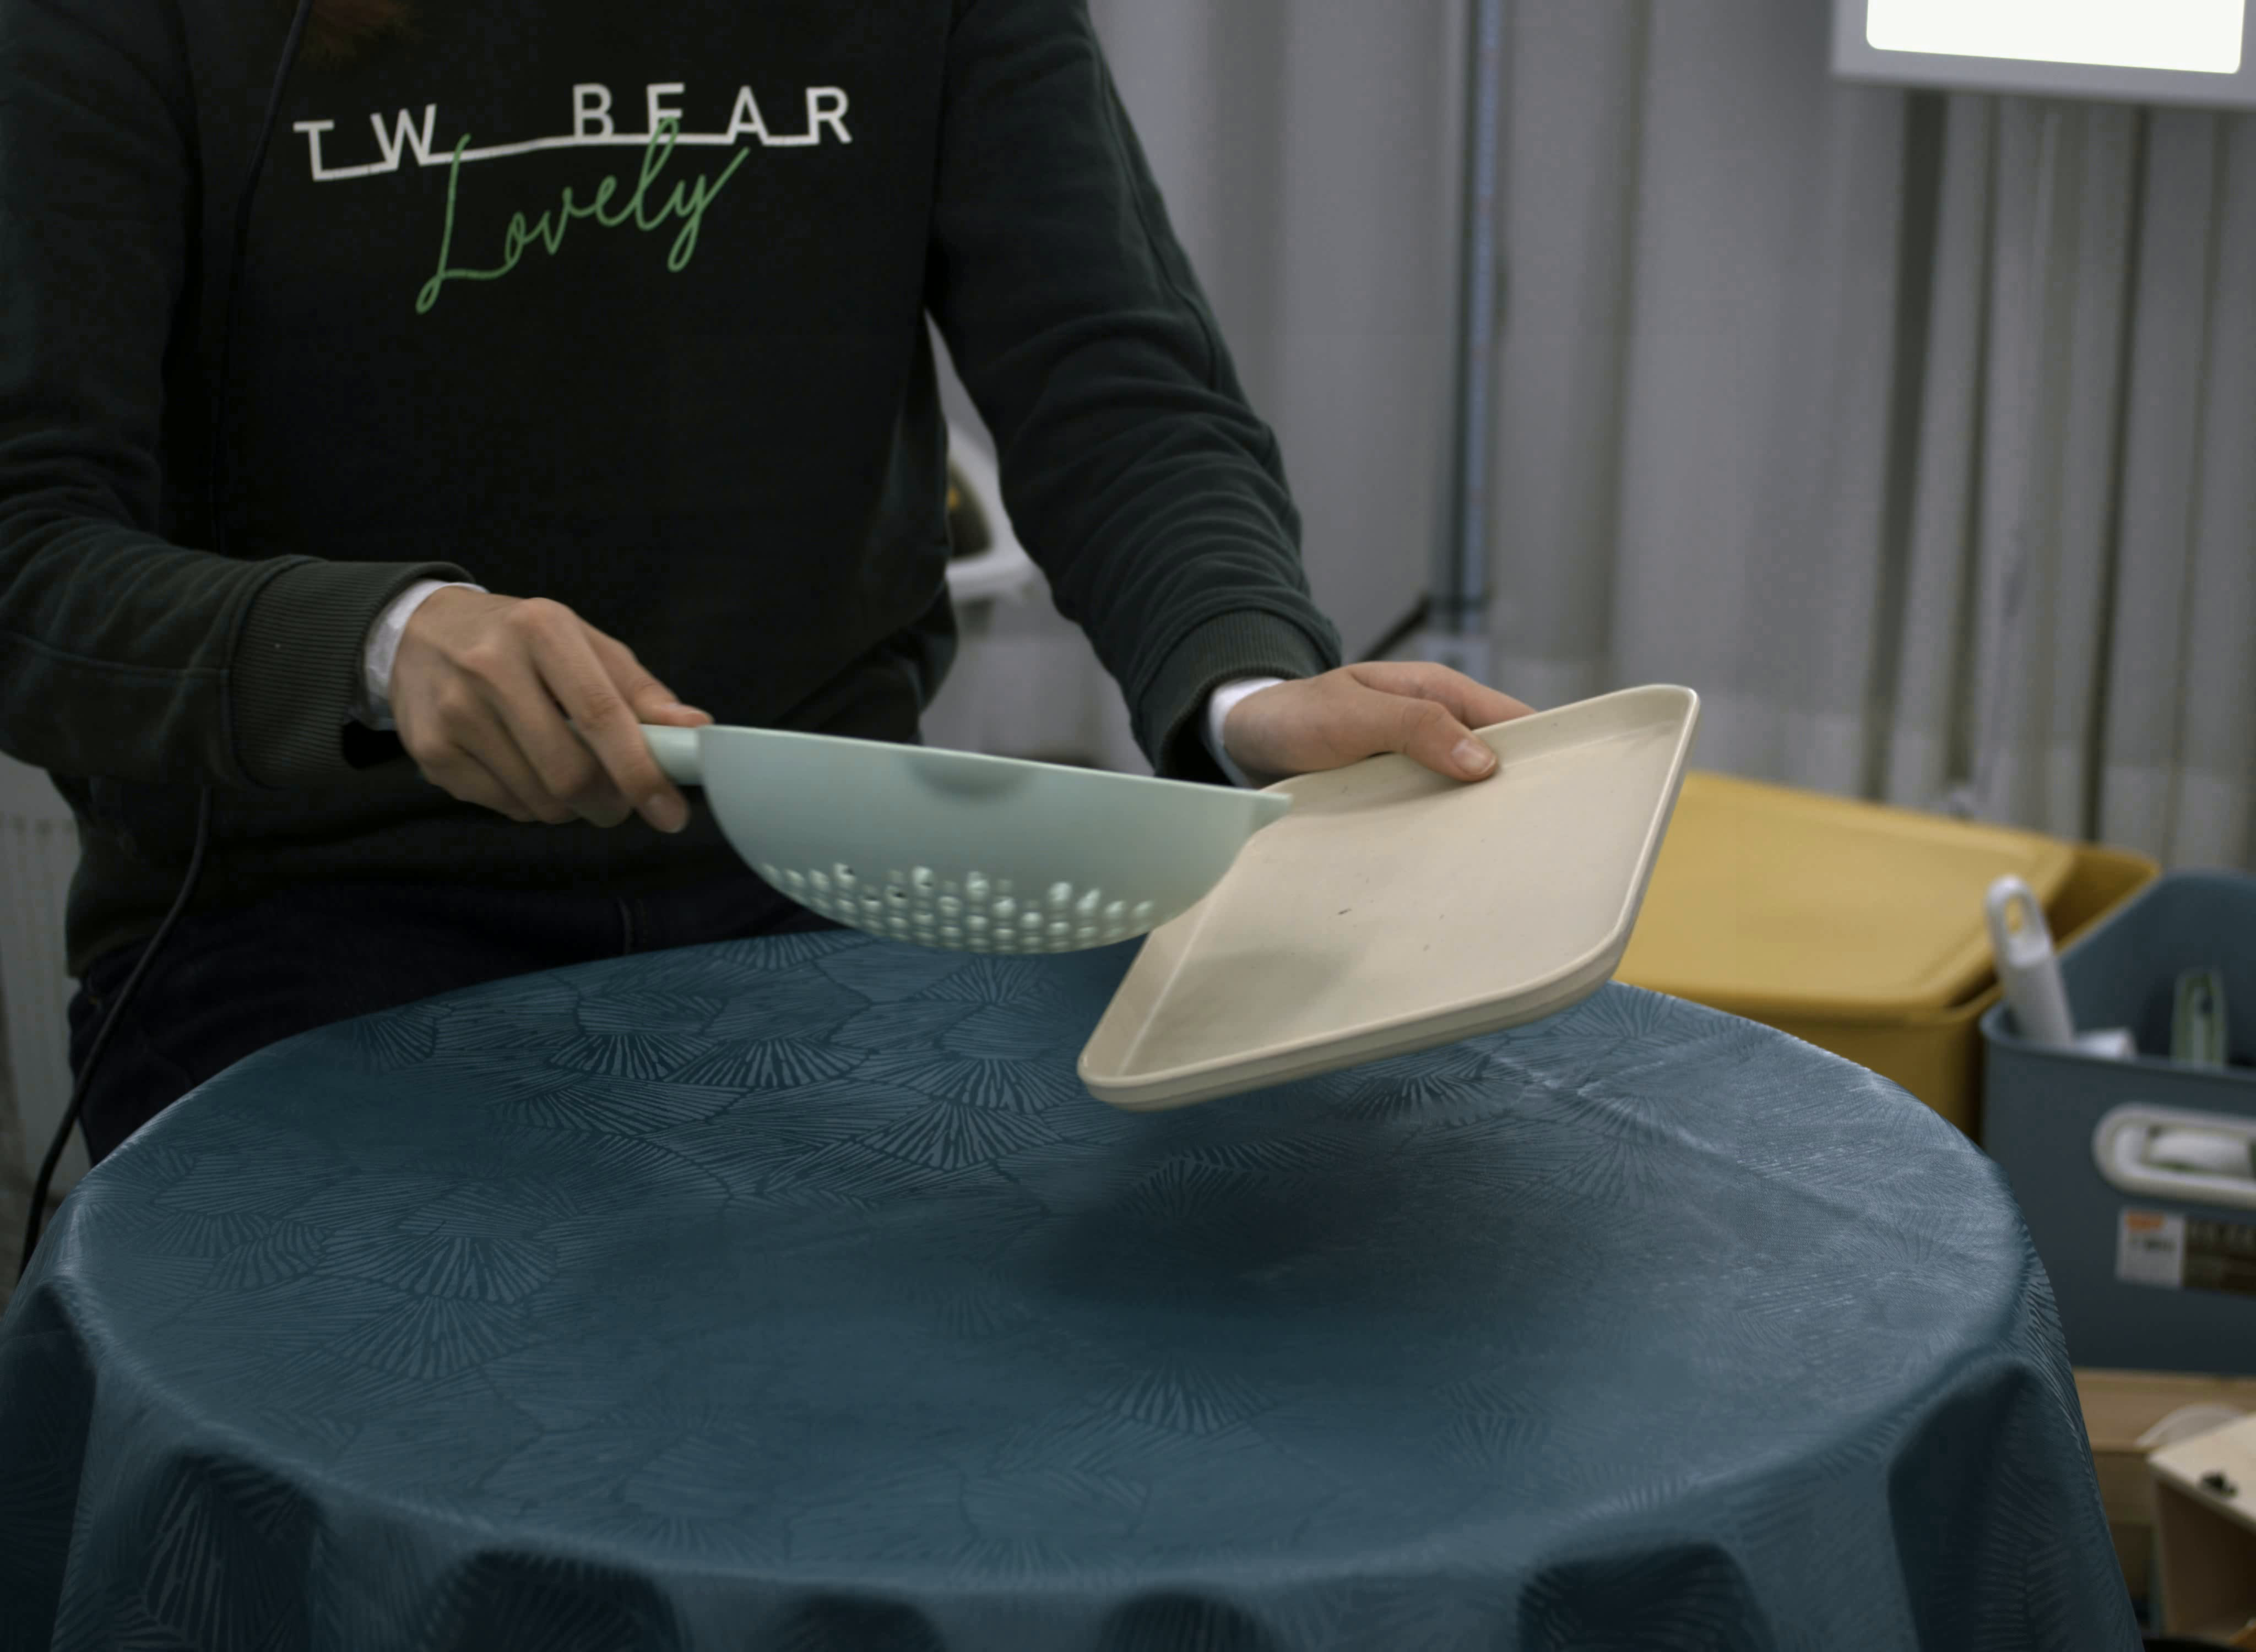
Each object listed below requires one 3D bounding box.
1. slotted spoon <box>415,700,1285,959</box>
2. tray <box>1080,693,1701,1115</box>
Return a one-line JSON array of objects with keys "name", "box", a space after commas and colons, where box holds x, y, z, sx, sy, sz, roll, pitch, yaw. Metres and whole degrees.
[{"name": "slotted spoon", "box": [-0.113, -0.015, 1.624, 0.171, 0.075, 0.354, 10, 6, -43]}, {"name": "tray", "box": [0.085, 0.023, 1.597, 0.170, 0.017, 0.239, -15, 17, 18]}]
